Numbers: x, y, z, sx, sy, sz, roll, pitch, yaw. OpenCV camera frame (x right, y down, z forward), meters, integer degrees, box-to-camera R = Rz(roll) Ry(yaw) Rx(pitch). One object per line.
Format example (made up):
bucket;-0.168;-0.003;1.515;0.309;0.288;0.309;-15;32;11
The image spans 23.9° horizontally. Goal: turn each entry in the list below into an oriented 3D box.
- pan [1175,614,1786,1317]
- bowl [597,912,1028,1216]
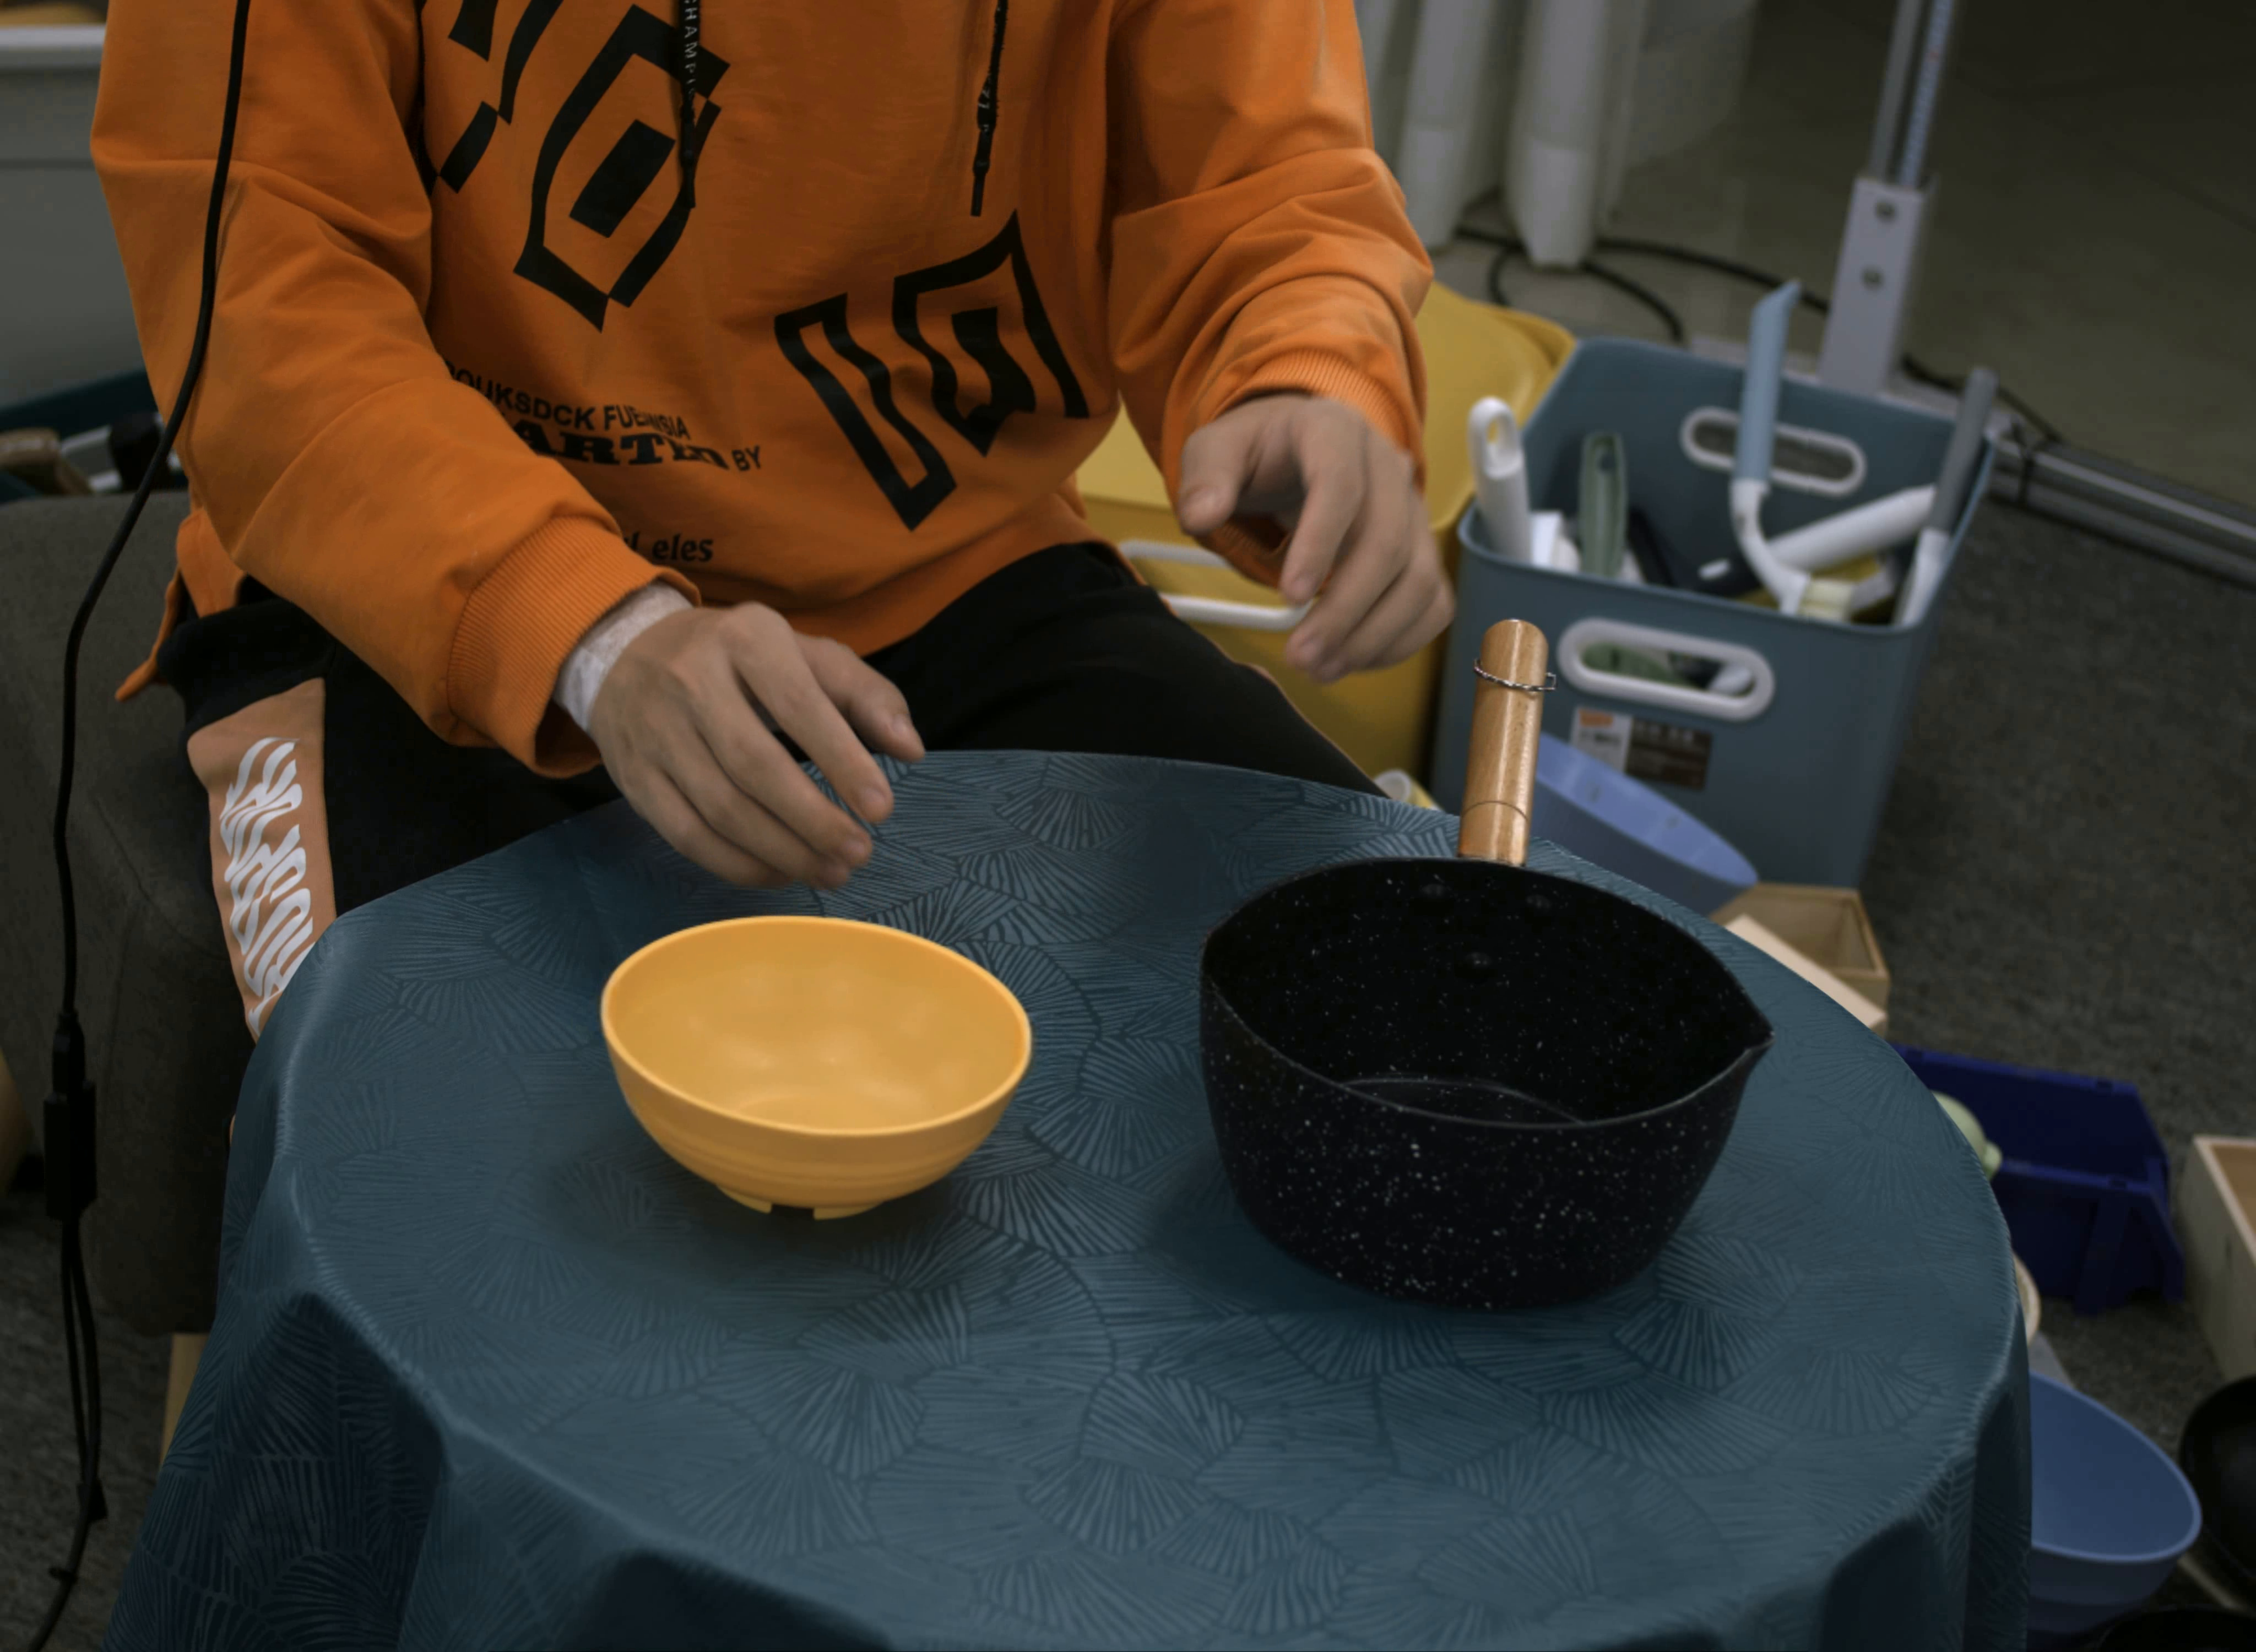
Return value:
pan;0.122;0.044;1.867;0.207;0.108;0.344;6;28;3
bowl;-0.108;0.089;1.781;0.145;0.060;0.146;7;27;-4
